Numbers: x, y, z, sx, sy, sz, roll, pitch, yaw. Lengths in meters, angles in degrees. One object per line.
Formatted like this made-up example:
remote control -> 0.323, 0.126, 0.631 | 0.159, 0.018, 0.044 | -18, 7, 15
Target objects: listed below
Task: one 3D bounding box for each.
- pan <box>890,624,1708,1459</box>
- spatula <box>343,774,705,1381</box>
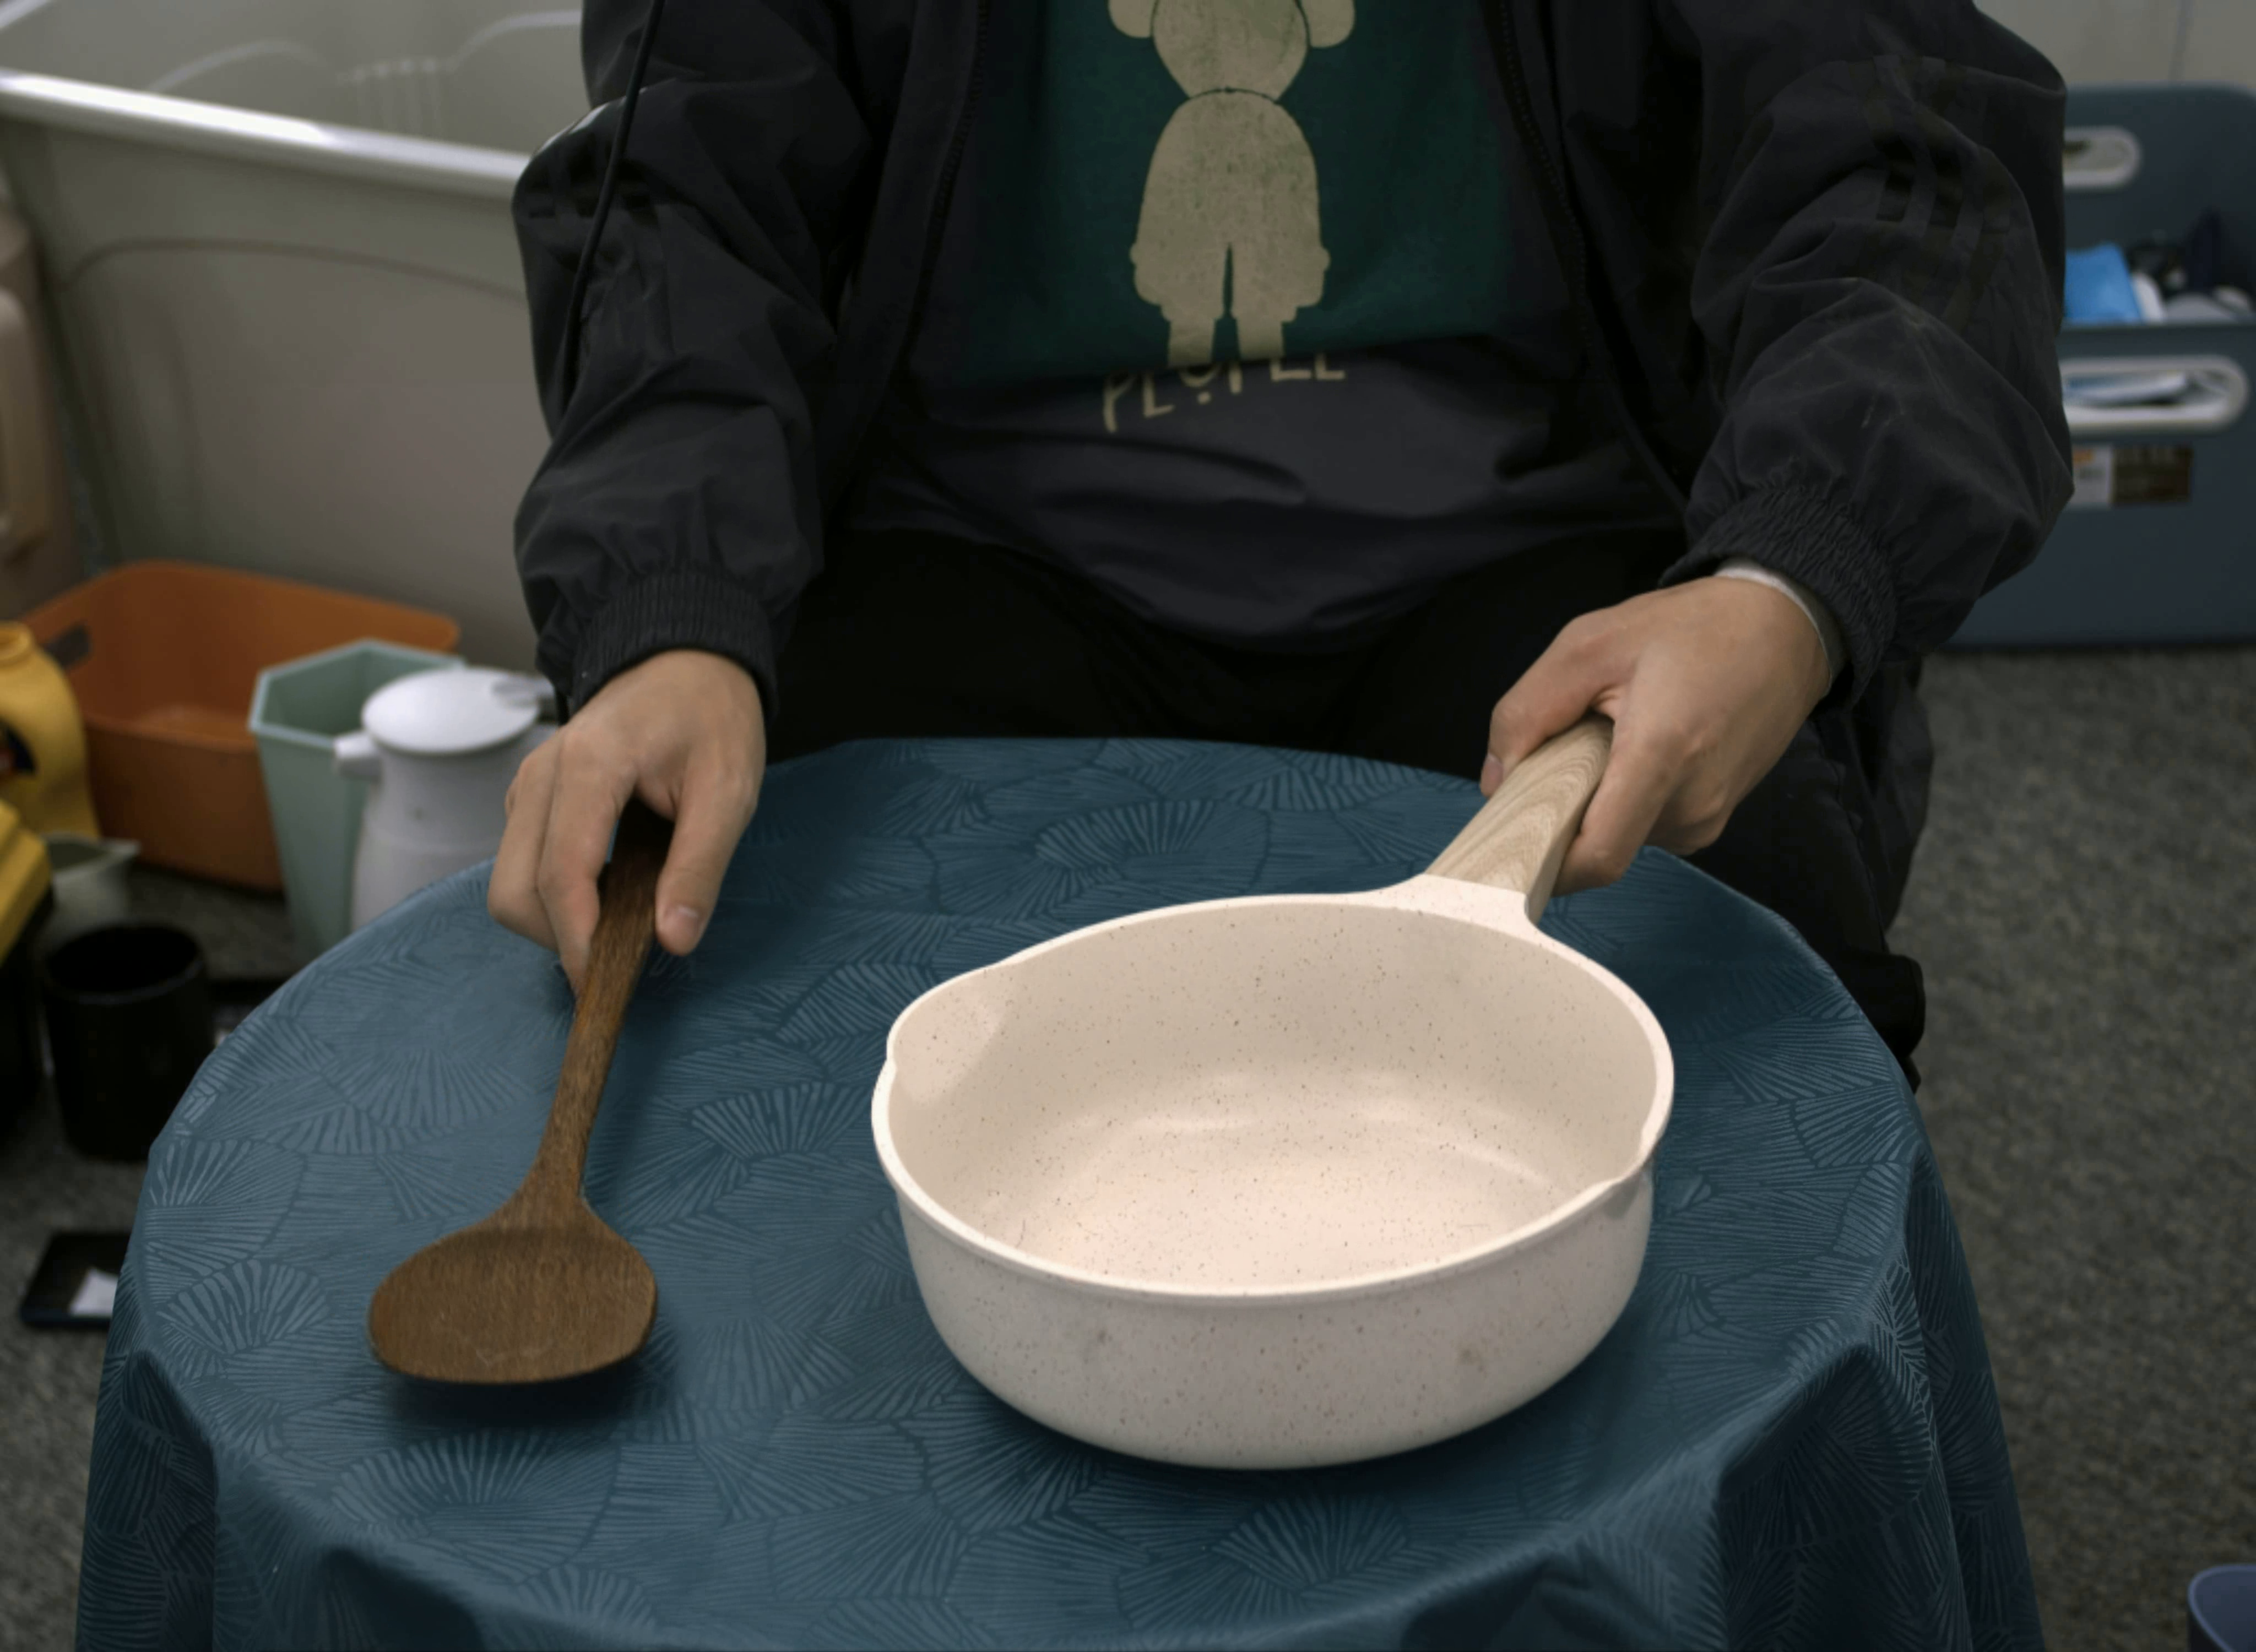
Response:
pan -> 0.097, 0.067, 1.833 | 0.261, 0.101, 0.442 | 9, 29, 28
spatula -> -0.184, 0.077, 1.905 | 0.095, 0.015, 0.392 | 1, 30, 5
